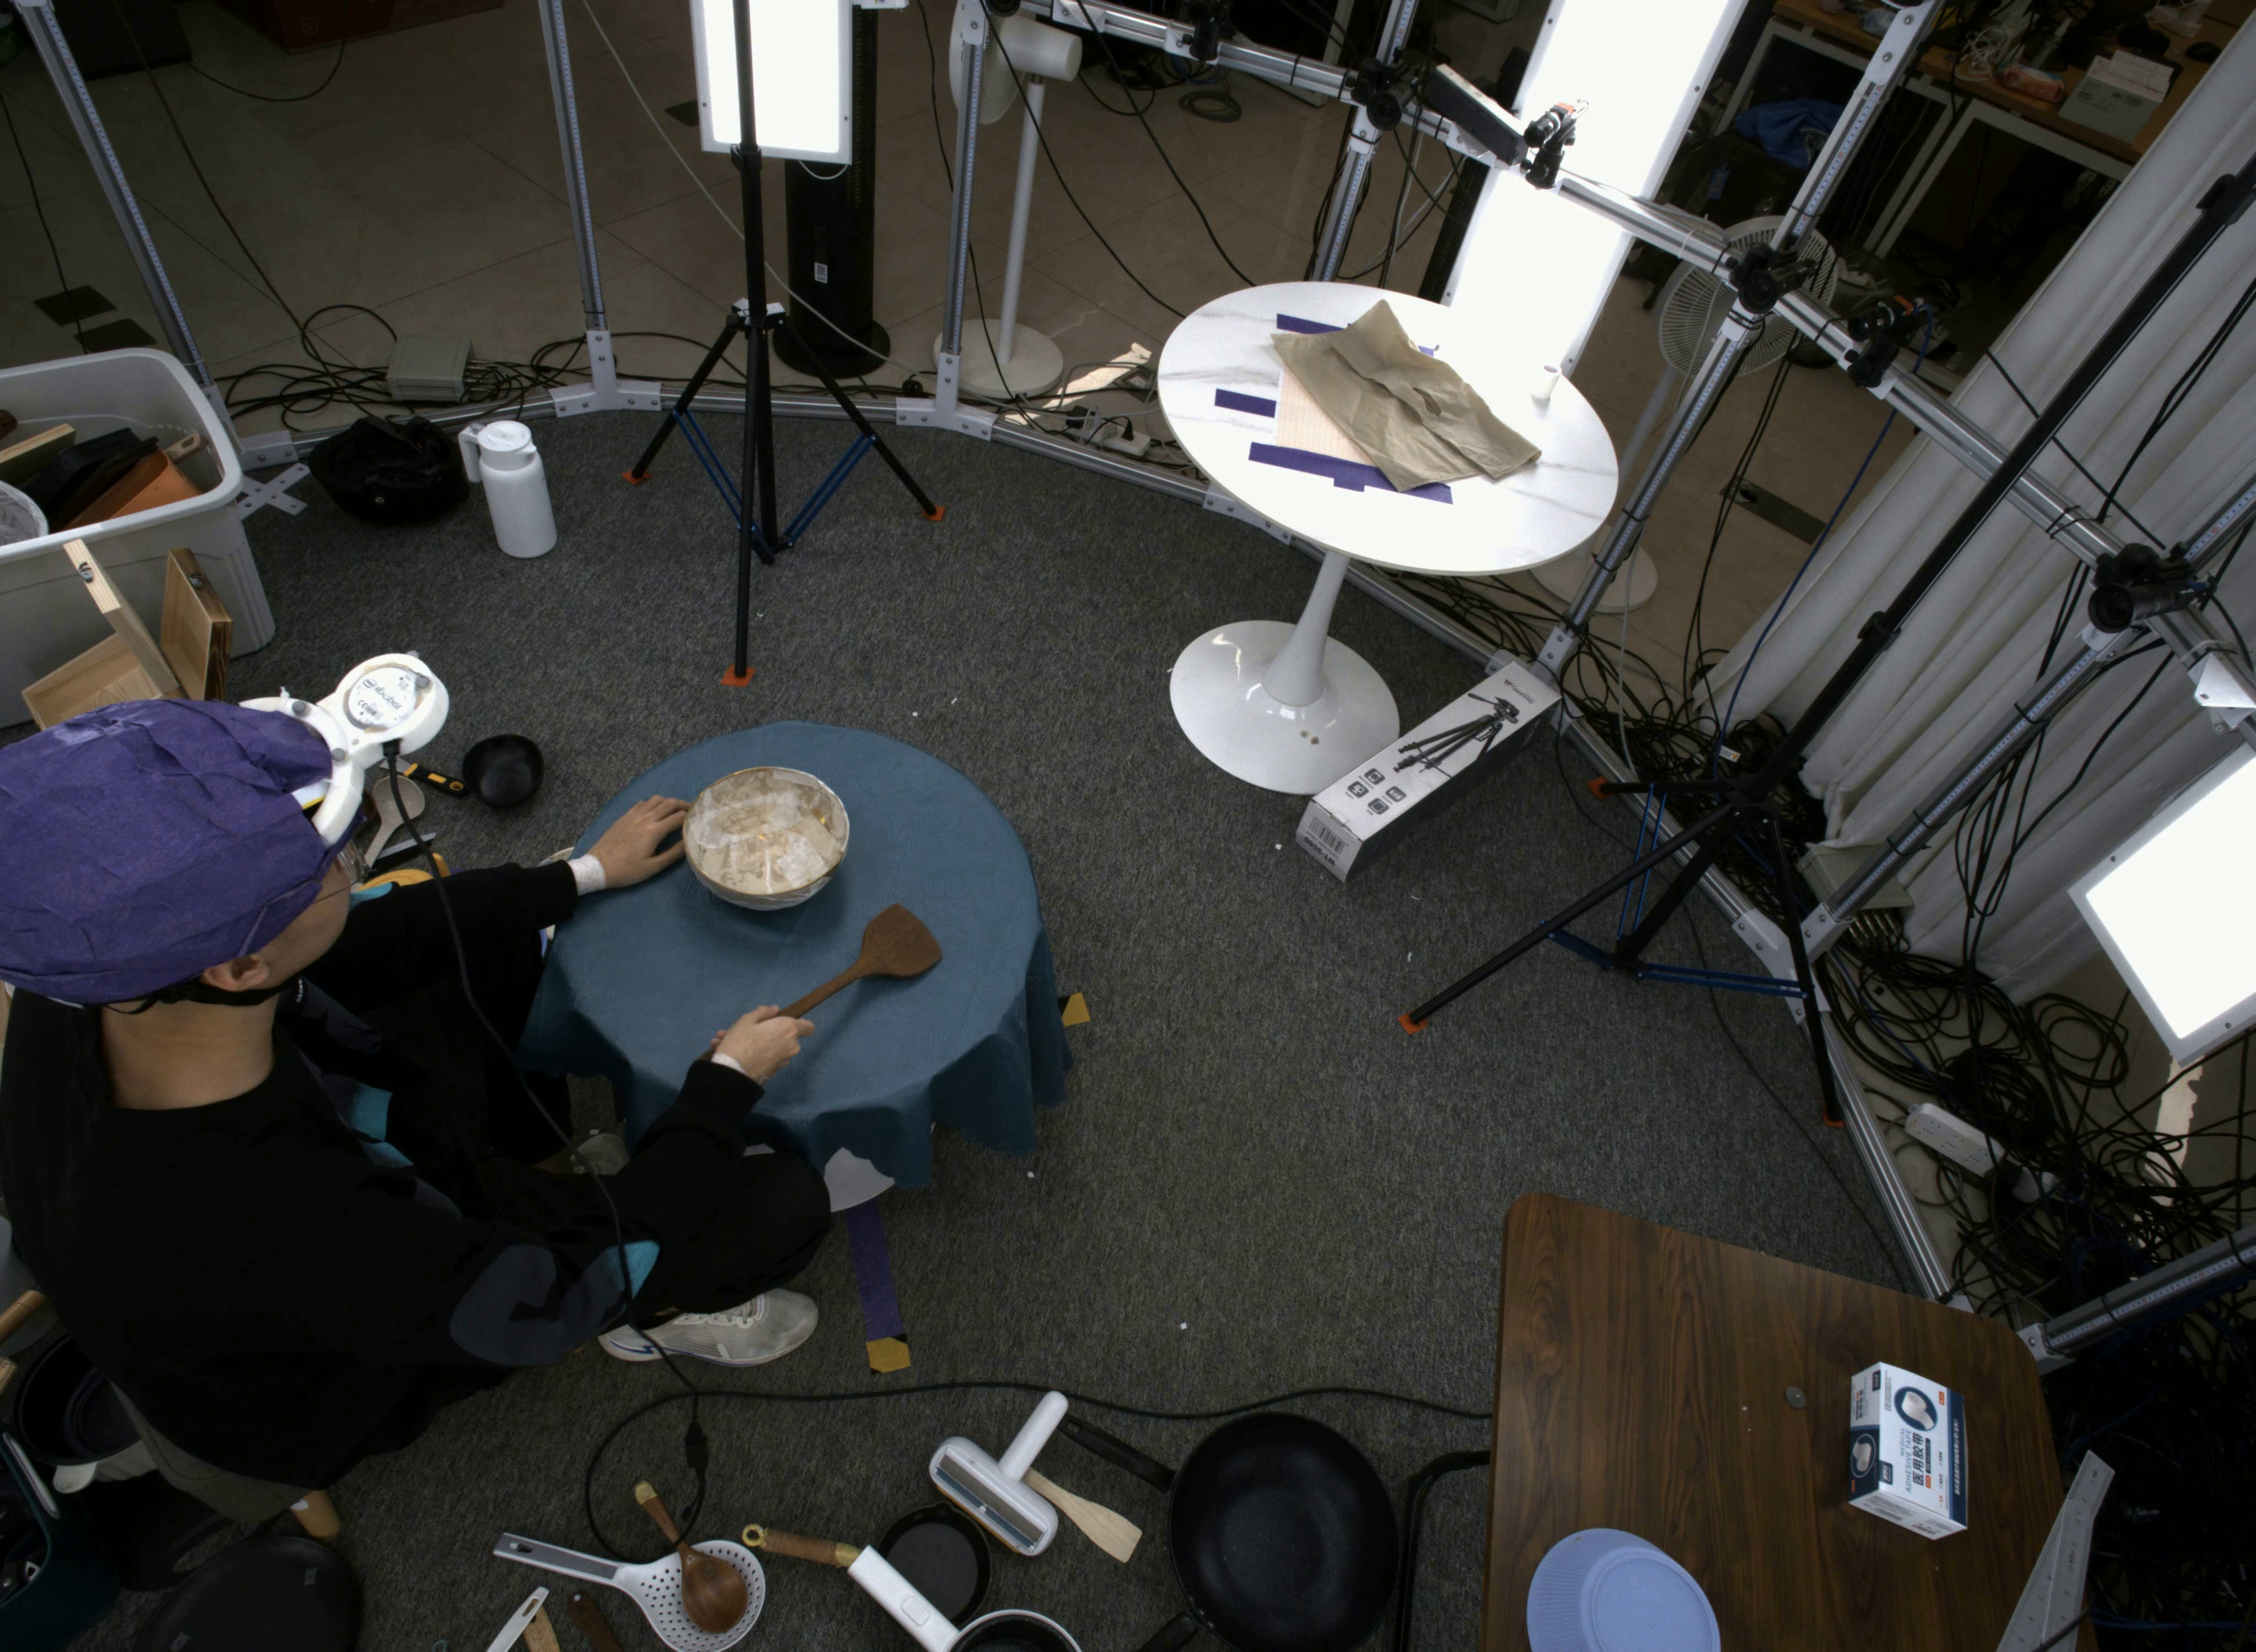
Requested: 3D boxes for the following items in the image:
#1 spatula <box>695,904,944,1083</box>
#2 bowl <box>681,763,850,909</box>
[{"bbox_3d":[-0.359,0.195,1.522,0.095,0.016,0.387,46,38,7],"label":"spatula"},{"bbox_3d":[-0.458,0.027,1.639,0.214,0.096,0.211,8,54,-9],"label":"bowl"}]
